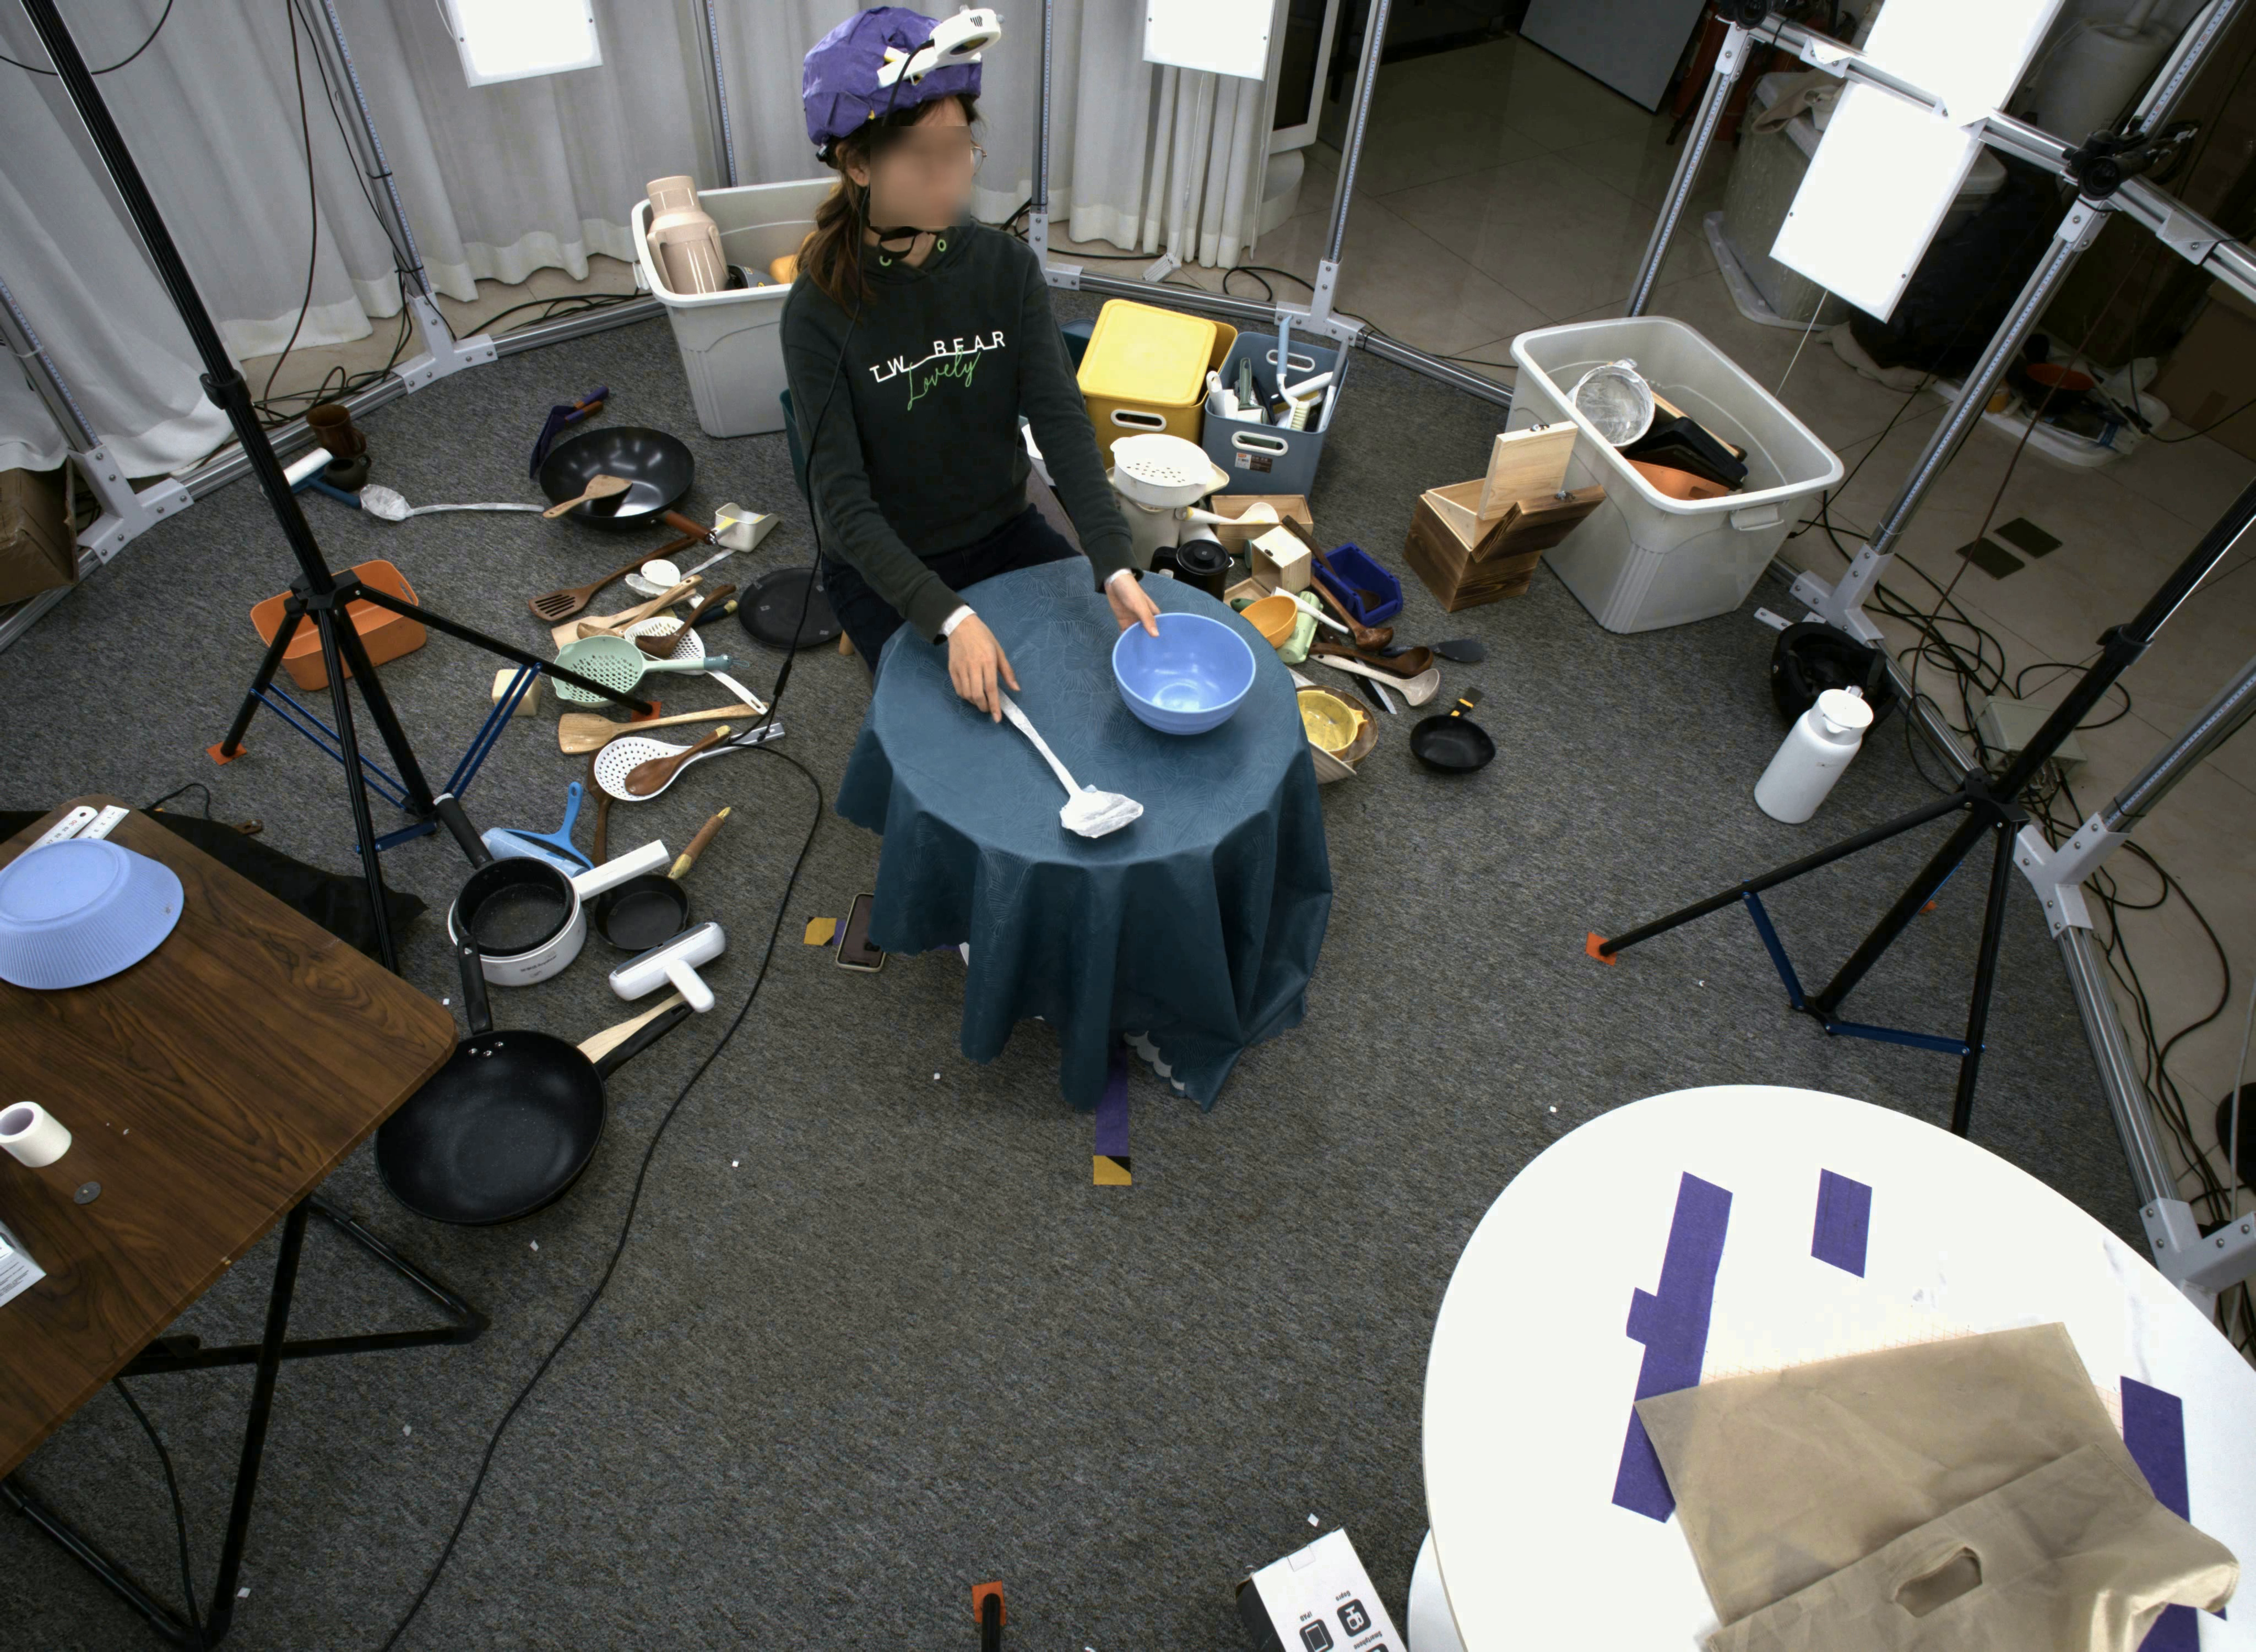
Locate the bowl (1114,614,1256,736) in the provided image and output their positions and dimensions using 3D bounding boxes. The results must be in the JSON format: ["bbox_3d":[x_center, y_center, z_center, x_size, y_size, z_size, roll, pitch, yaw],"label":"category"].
[{"bbox_3d":[0.075,-0.197,1.798,0.196,0.093,0.201,2,51,-3],"label":"bowl"}]

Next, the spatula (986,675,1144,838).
[{"bbox_3d":[-0.108,-0.106,1.744,0.099,0.043,0.372,-25,55,-21],"label":"spatula"}]
